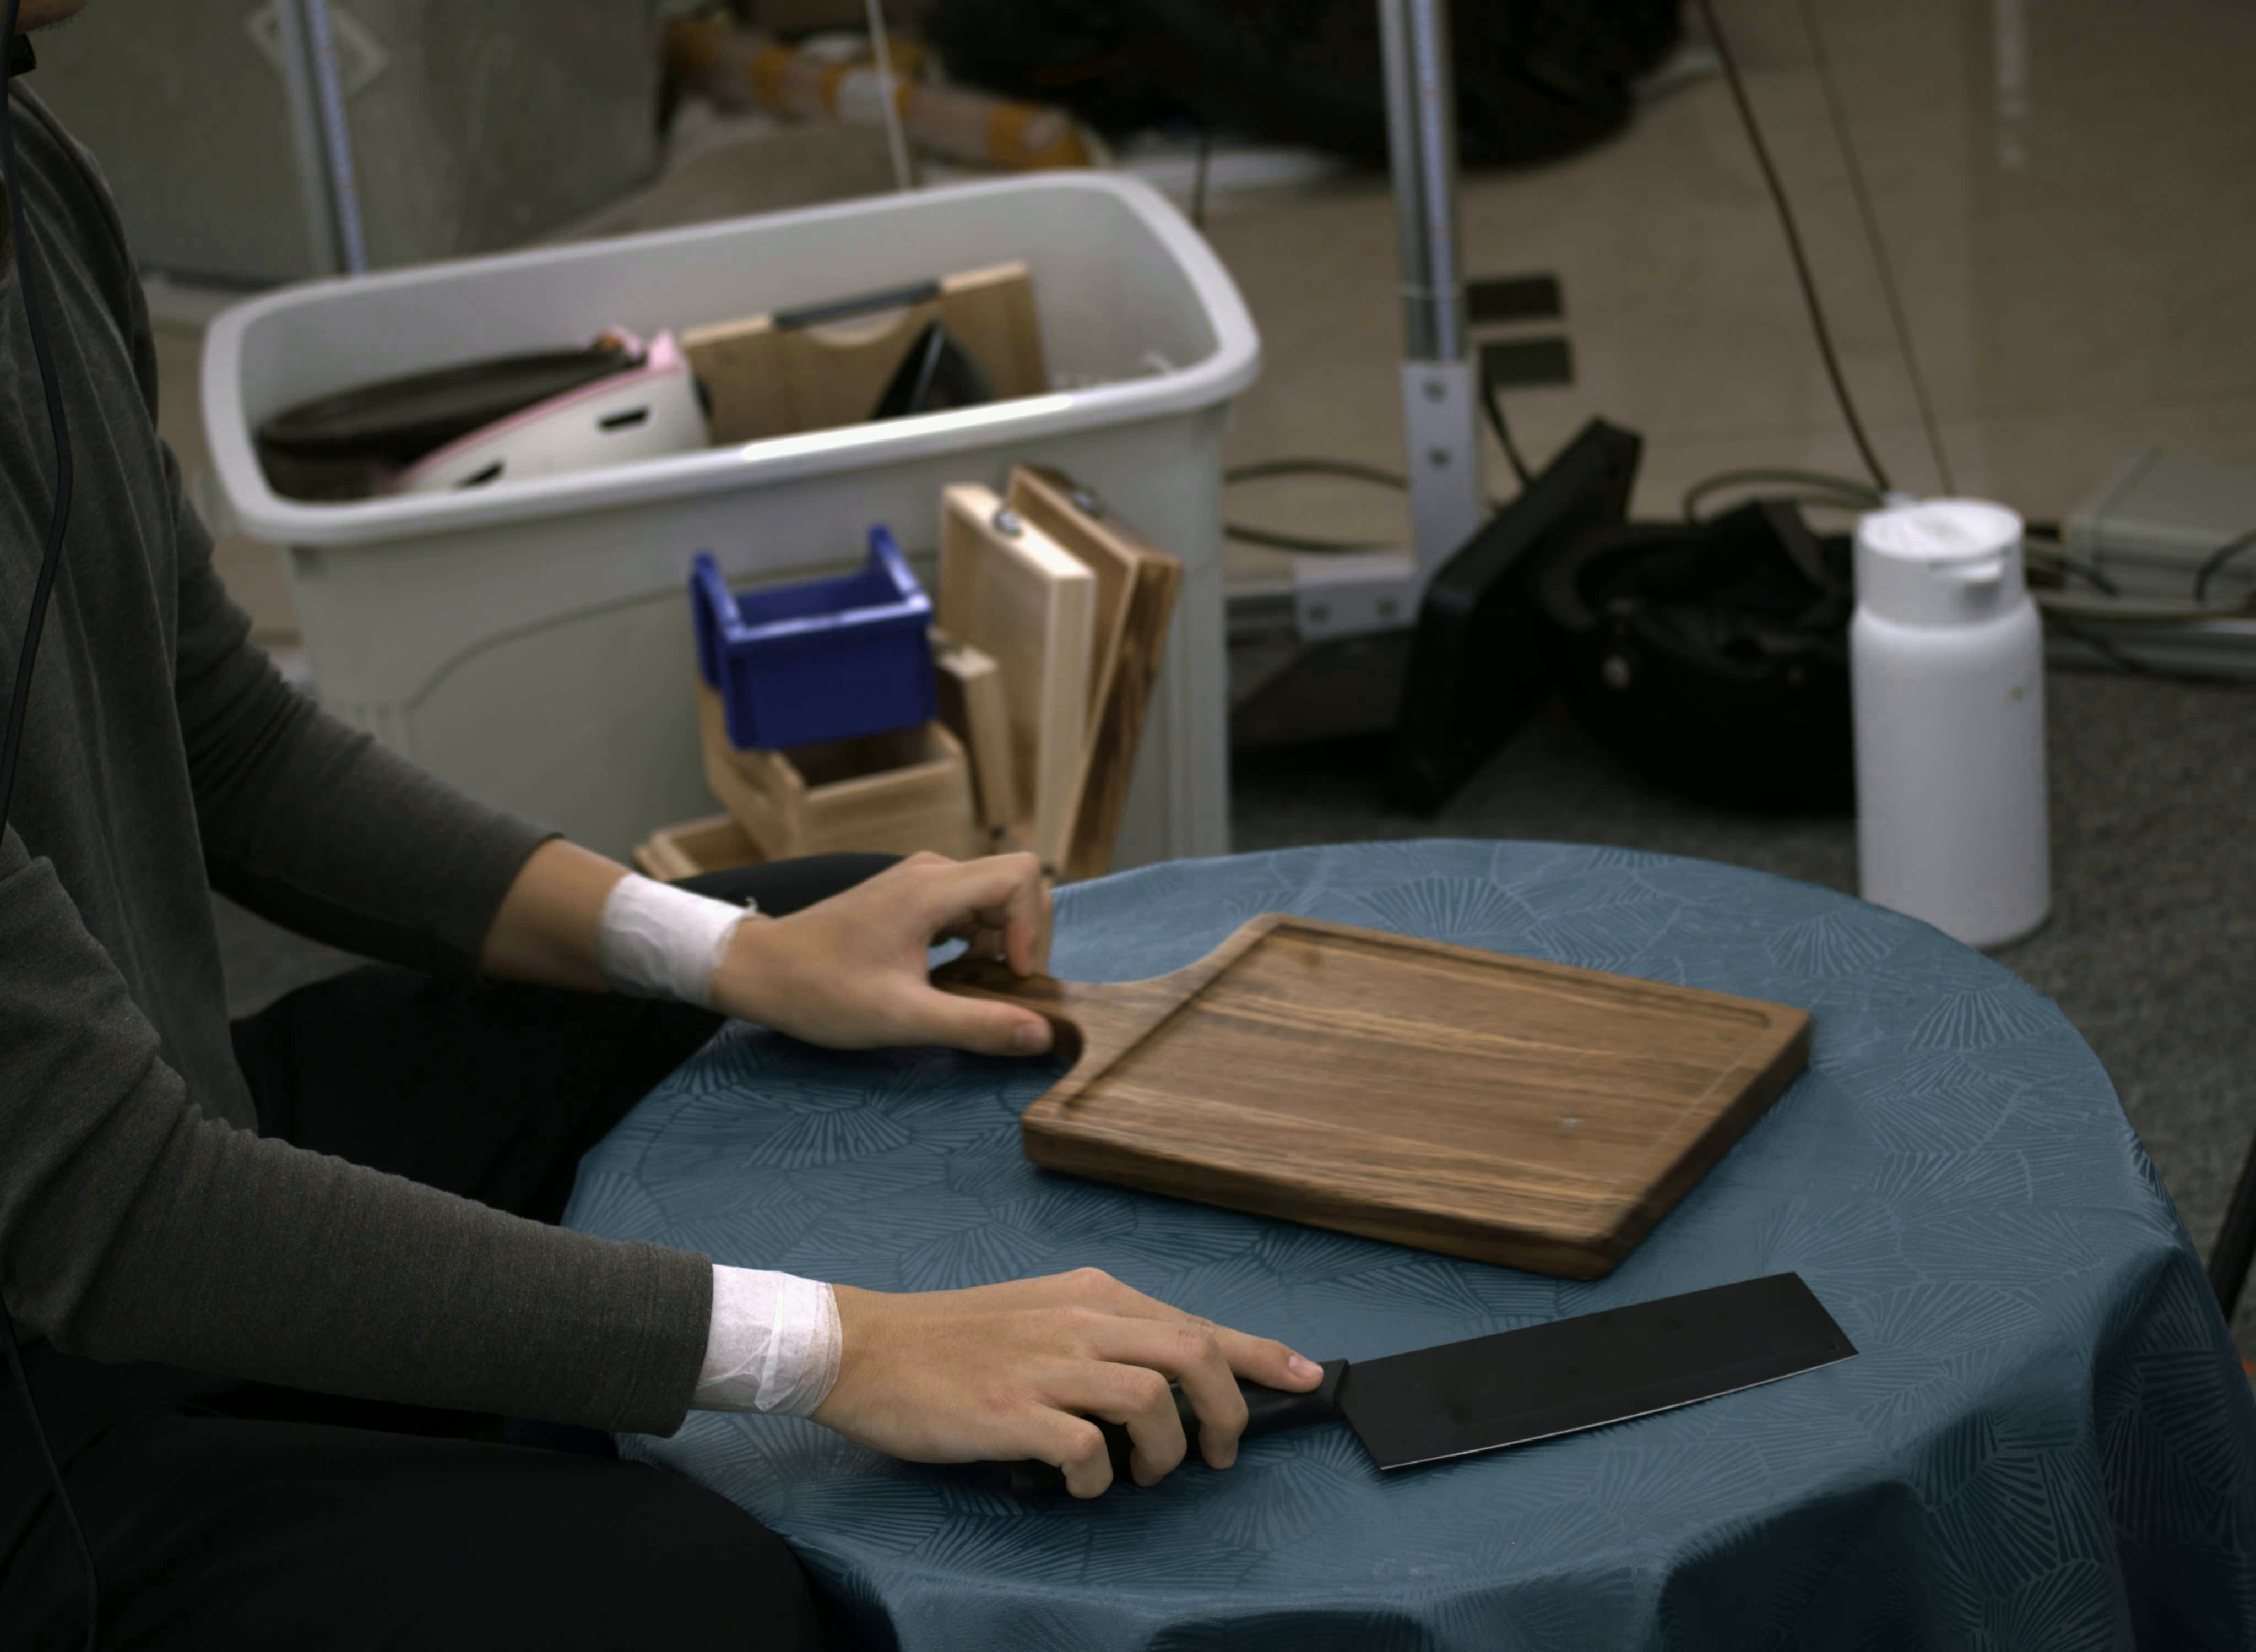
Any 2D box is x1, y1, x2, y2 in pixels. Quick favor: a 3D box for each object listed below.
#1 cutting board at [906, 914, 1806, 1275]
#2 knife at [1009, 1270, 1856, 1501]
[{"bbox_3d":[0.066,0.092,2.202,0.350,0.023,0.199,10,29,29],"label":"cutting board"},{"bbox_3d":[0.104,0.198,1.982,0.301,0.021,0.080,-9,28,-9],"label":"knife"}]
